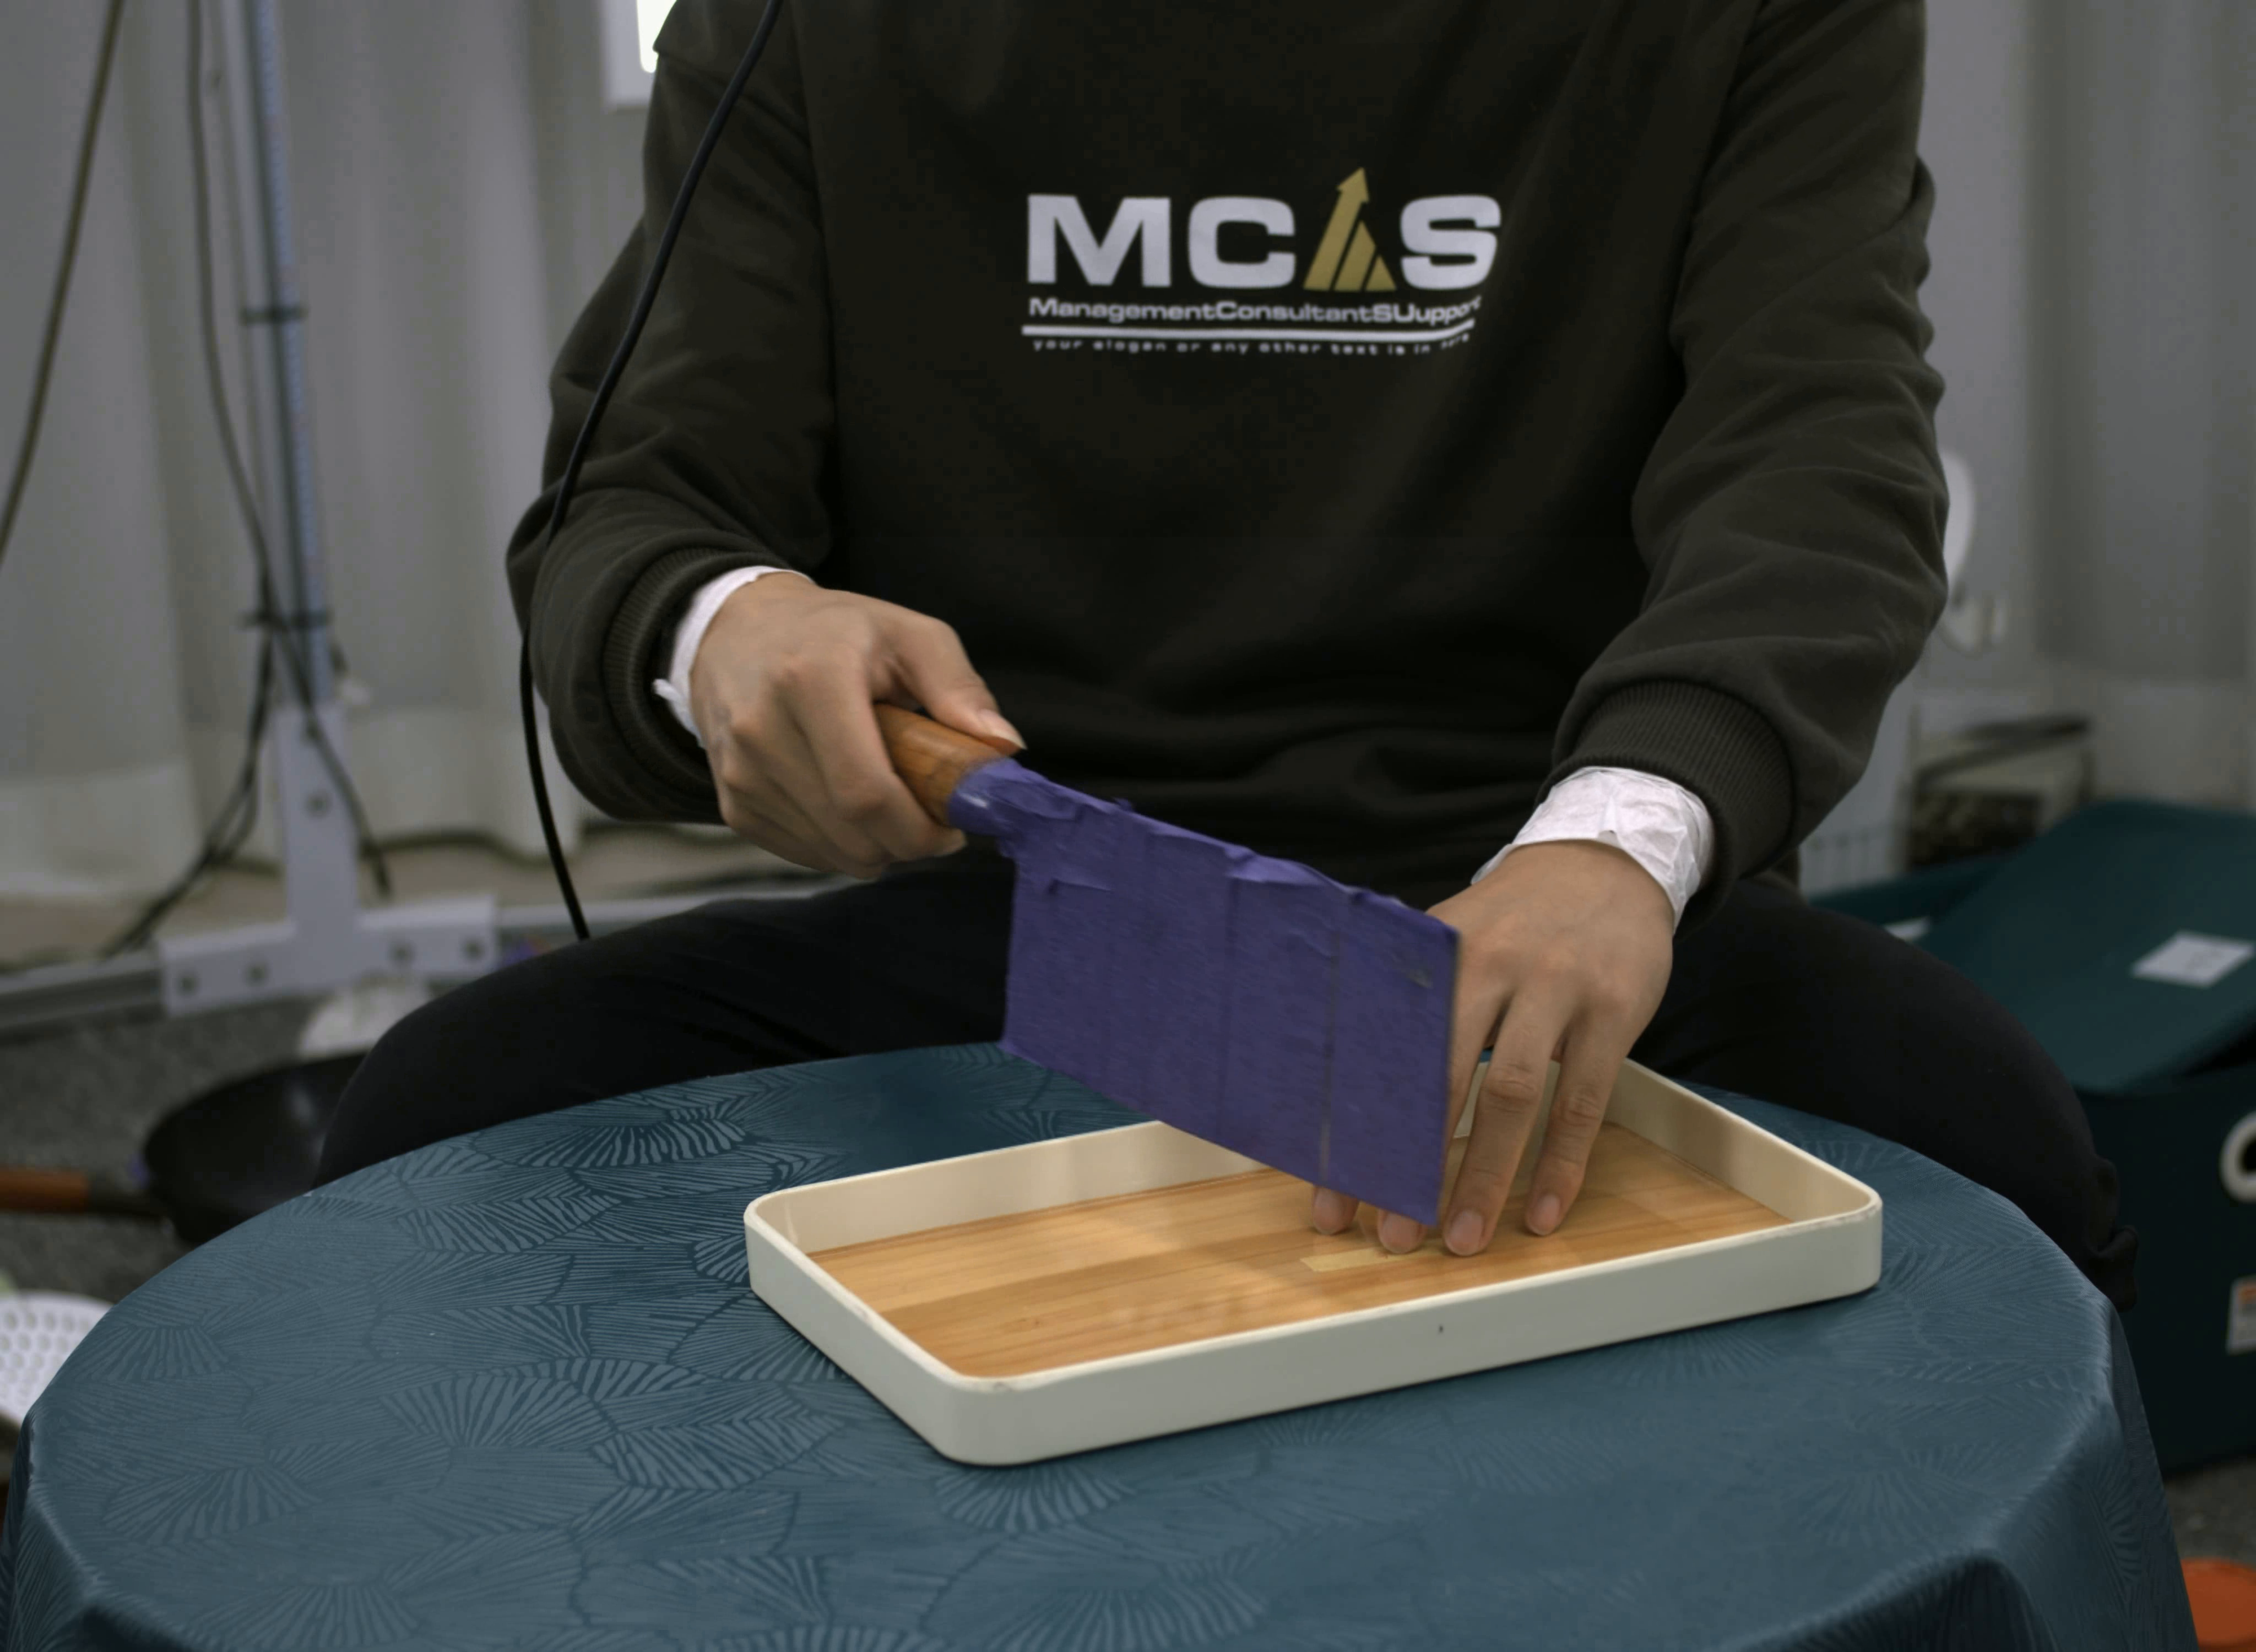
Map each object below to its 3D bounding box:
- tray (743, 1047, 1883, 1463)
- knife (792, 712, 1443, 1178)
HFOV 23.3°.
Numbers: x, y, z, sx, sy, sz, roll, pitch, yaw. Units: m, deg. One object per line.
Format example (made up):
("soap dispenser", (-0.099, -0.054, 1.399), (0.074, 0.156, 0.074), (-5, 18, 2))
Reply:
("tray", (0.053, 0.123, 1.622), (0.299, 0.027, 0.193), (-9, 16, -22))
("knife", (-0.010, 0.035, 1.654), (0.032, 0.104, 0.317), (-1, 12, -35))
